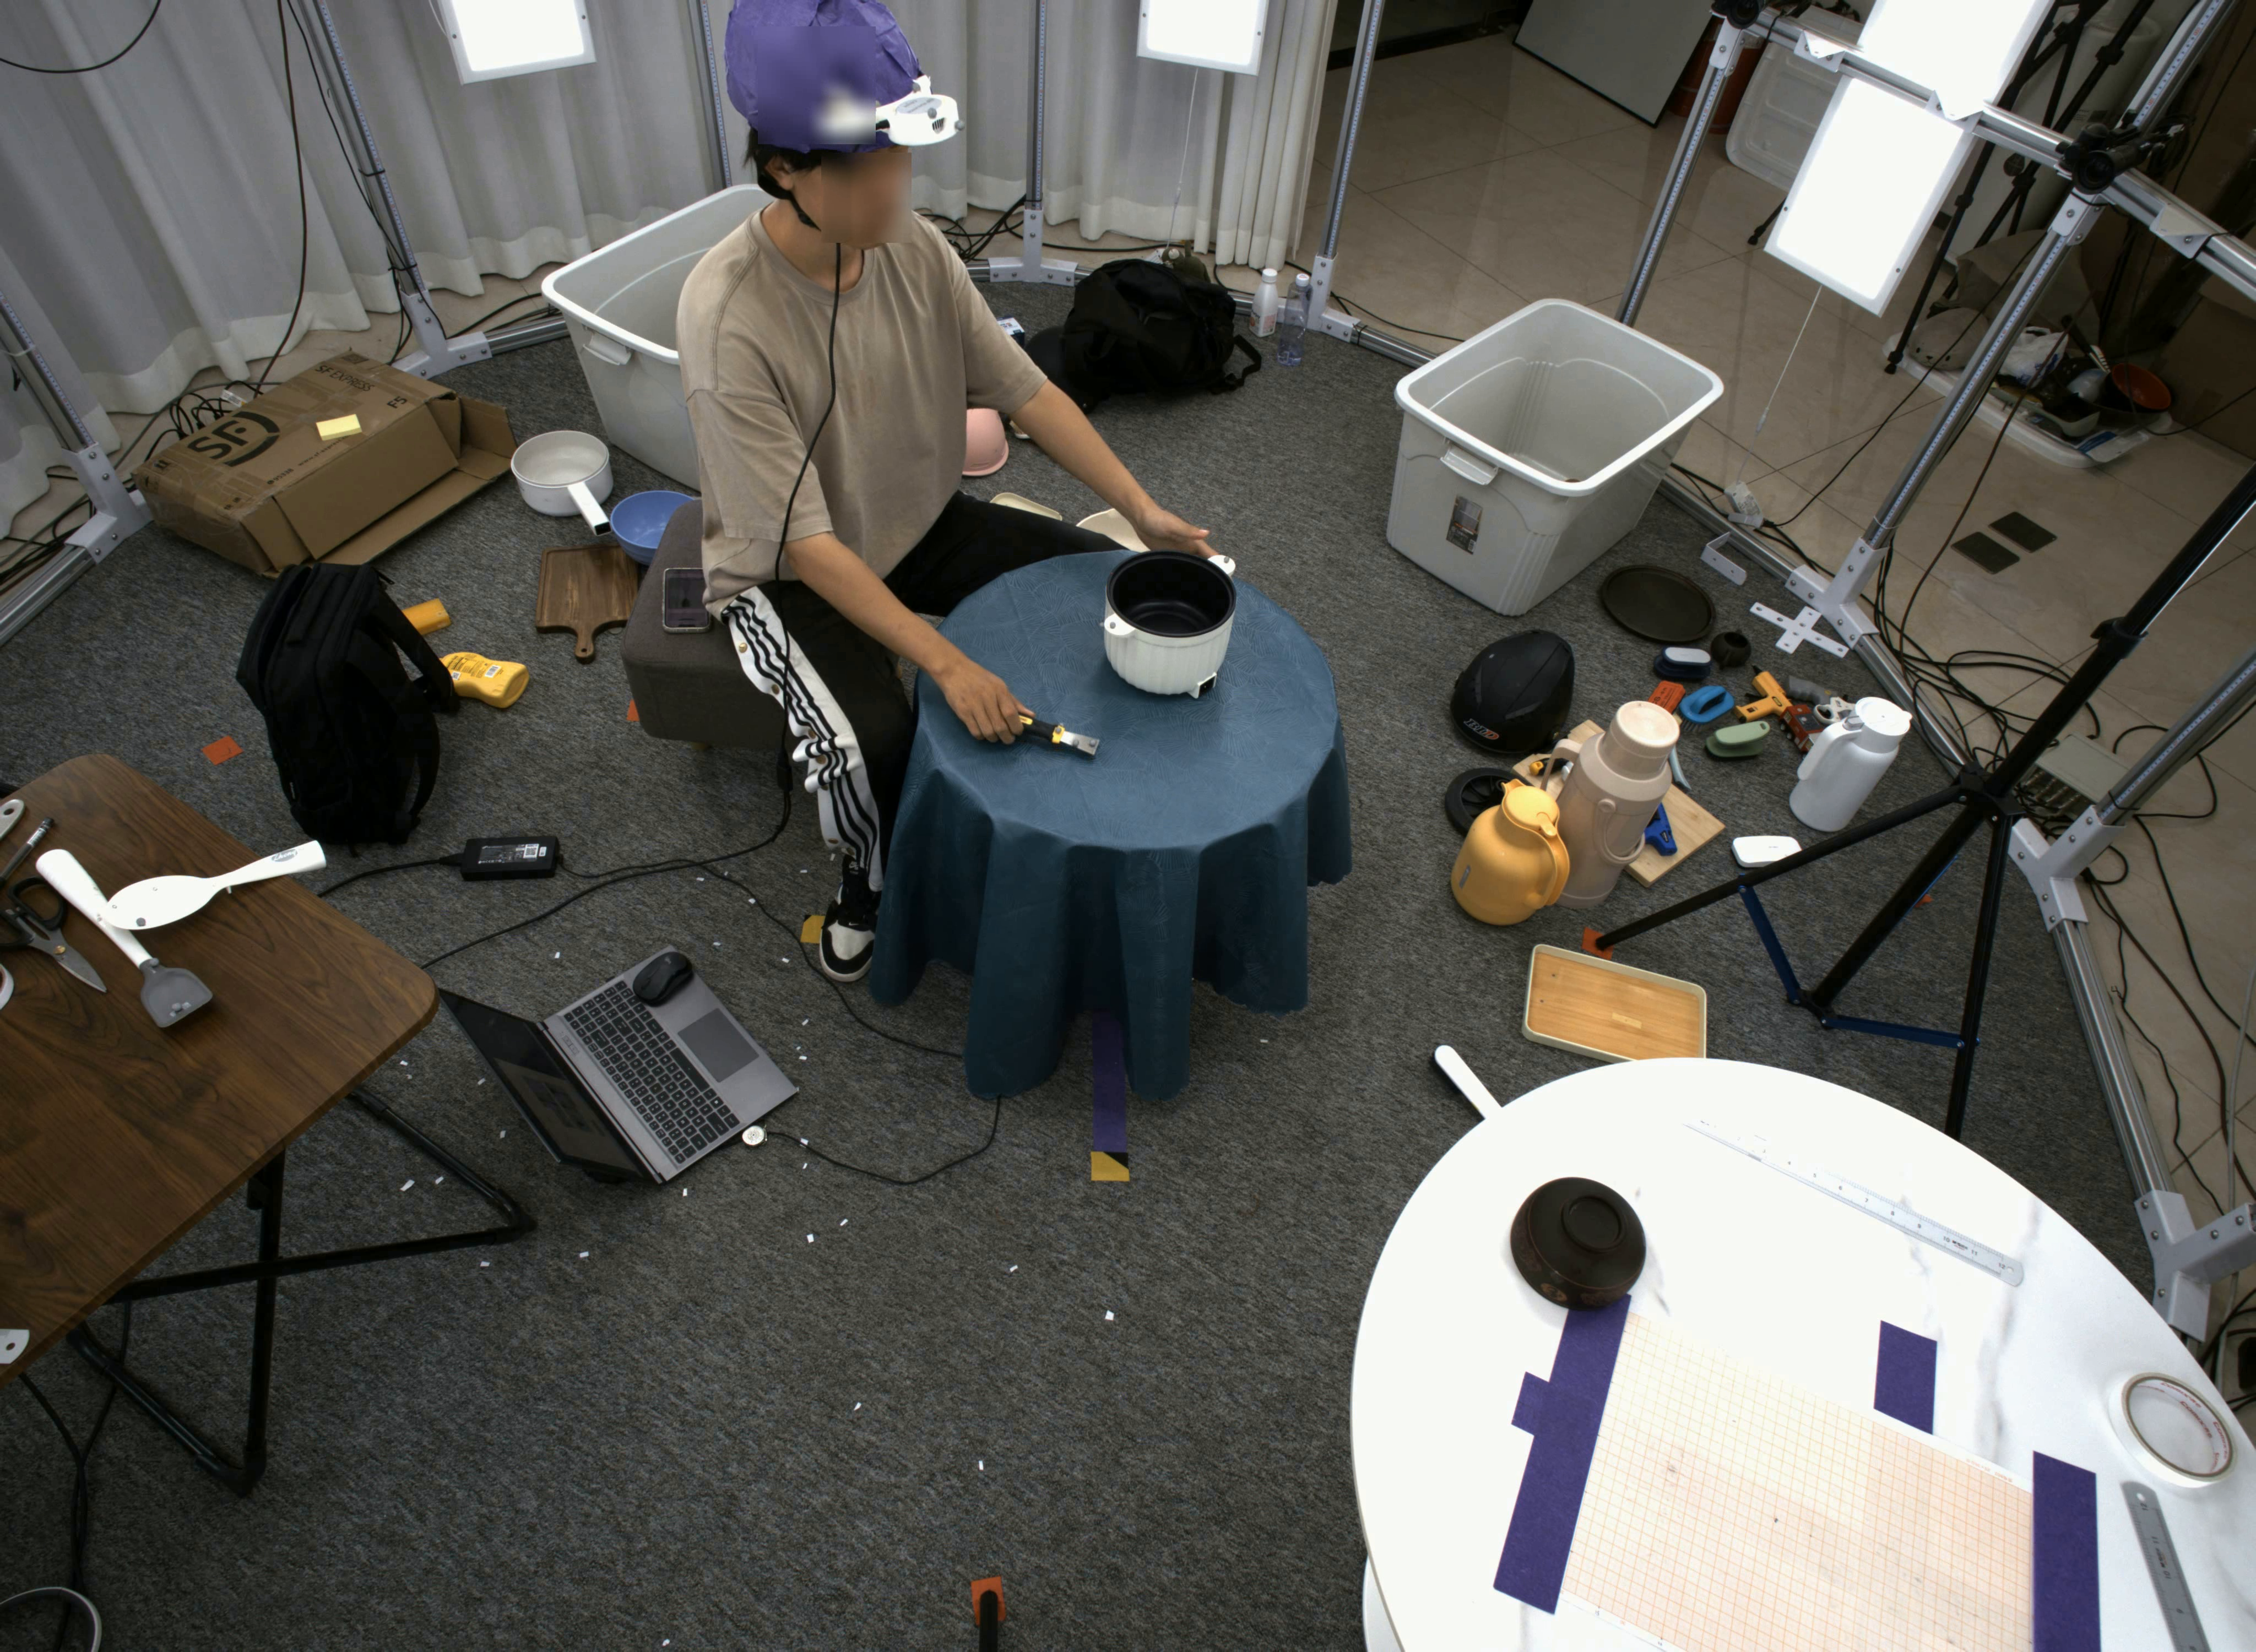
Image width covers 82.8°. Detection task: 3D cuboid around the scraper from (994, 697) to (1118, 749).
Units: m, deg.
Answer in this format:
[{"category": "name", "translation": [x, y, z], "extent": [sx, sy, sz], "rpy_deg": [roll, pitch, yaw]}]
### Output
[{"category": "scraper", "translation": [-0.099, -0.140, 1.738], "extent": [0.171, 0.014, 0.040], "rpy_deg": [18, 44, -1]}]

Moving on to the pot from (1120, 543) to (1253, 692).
[{"category": "pot", "translation": [0.073, -0.294, 1.827], "extent": [0.242, 0.139, 0.193], "rpy_deg": [-34, 63, -32]}]
